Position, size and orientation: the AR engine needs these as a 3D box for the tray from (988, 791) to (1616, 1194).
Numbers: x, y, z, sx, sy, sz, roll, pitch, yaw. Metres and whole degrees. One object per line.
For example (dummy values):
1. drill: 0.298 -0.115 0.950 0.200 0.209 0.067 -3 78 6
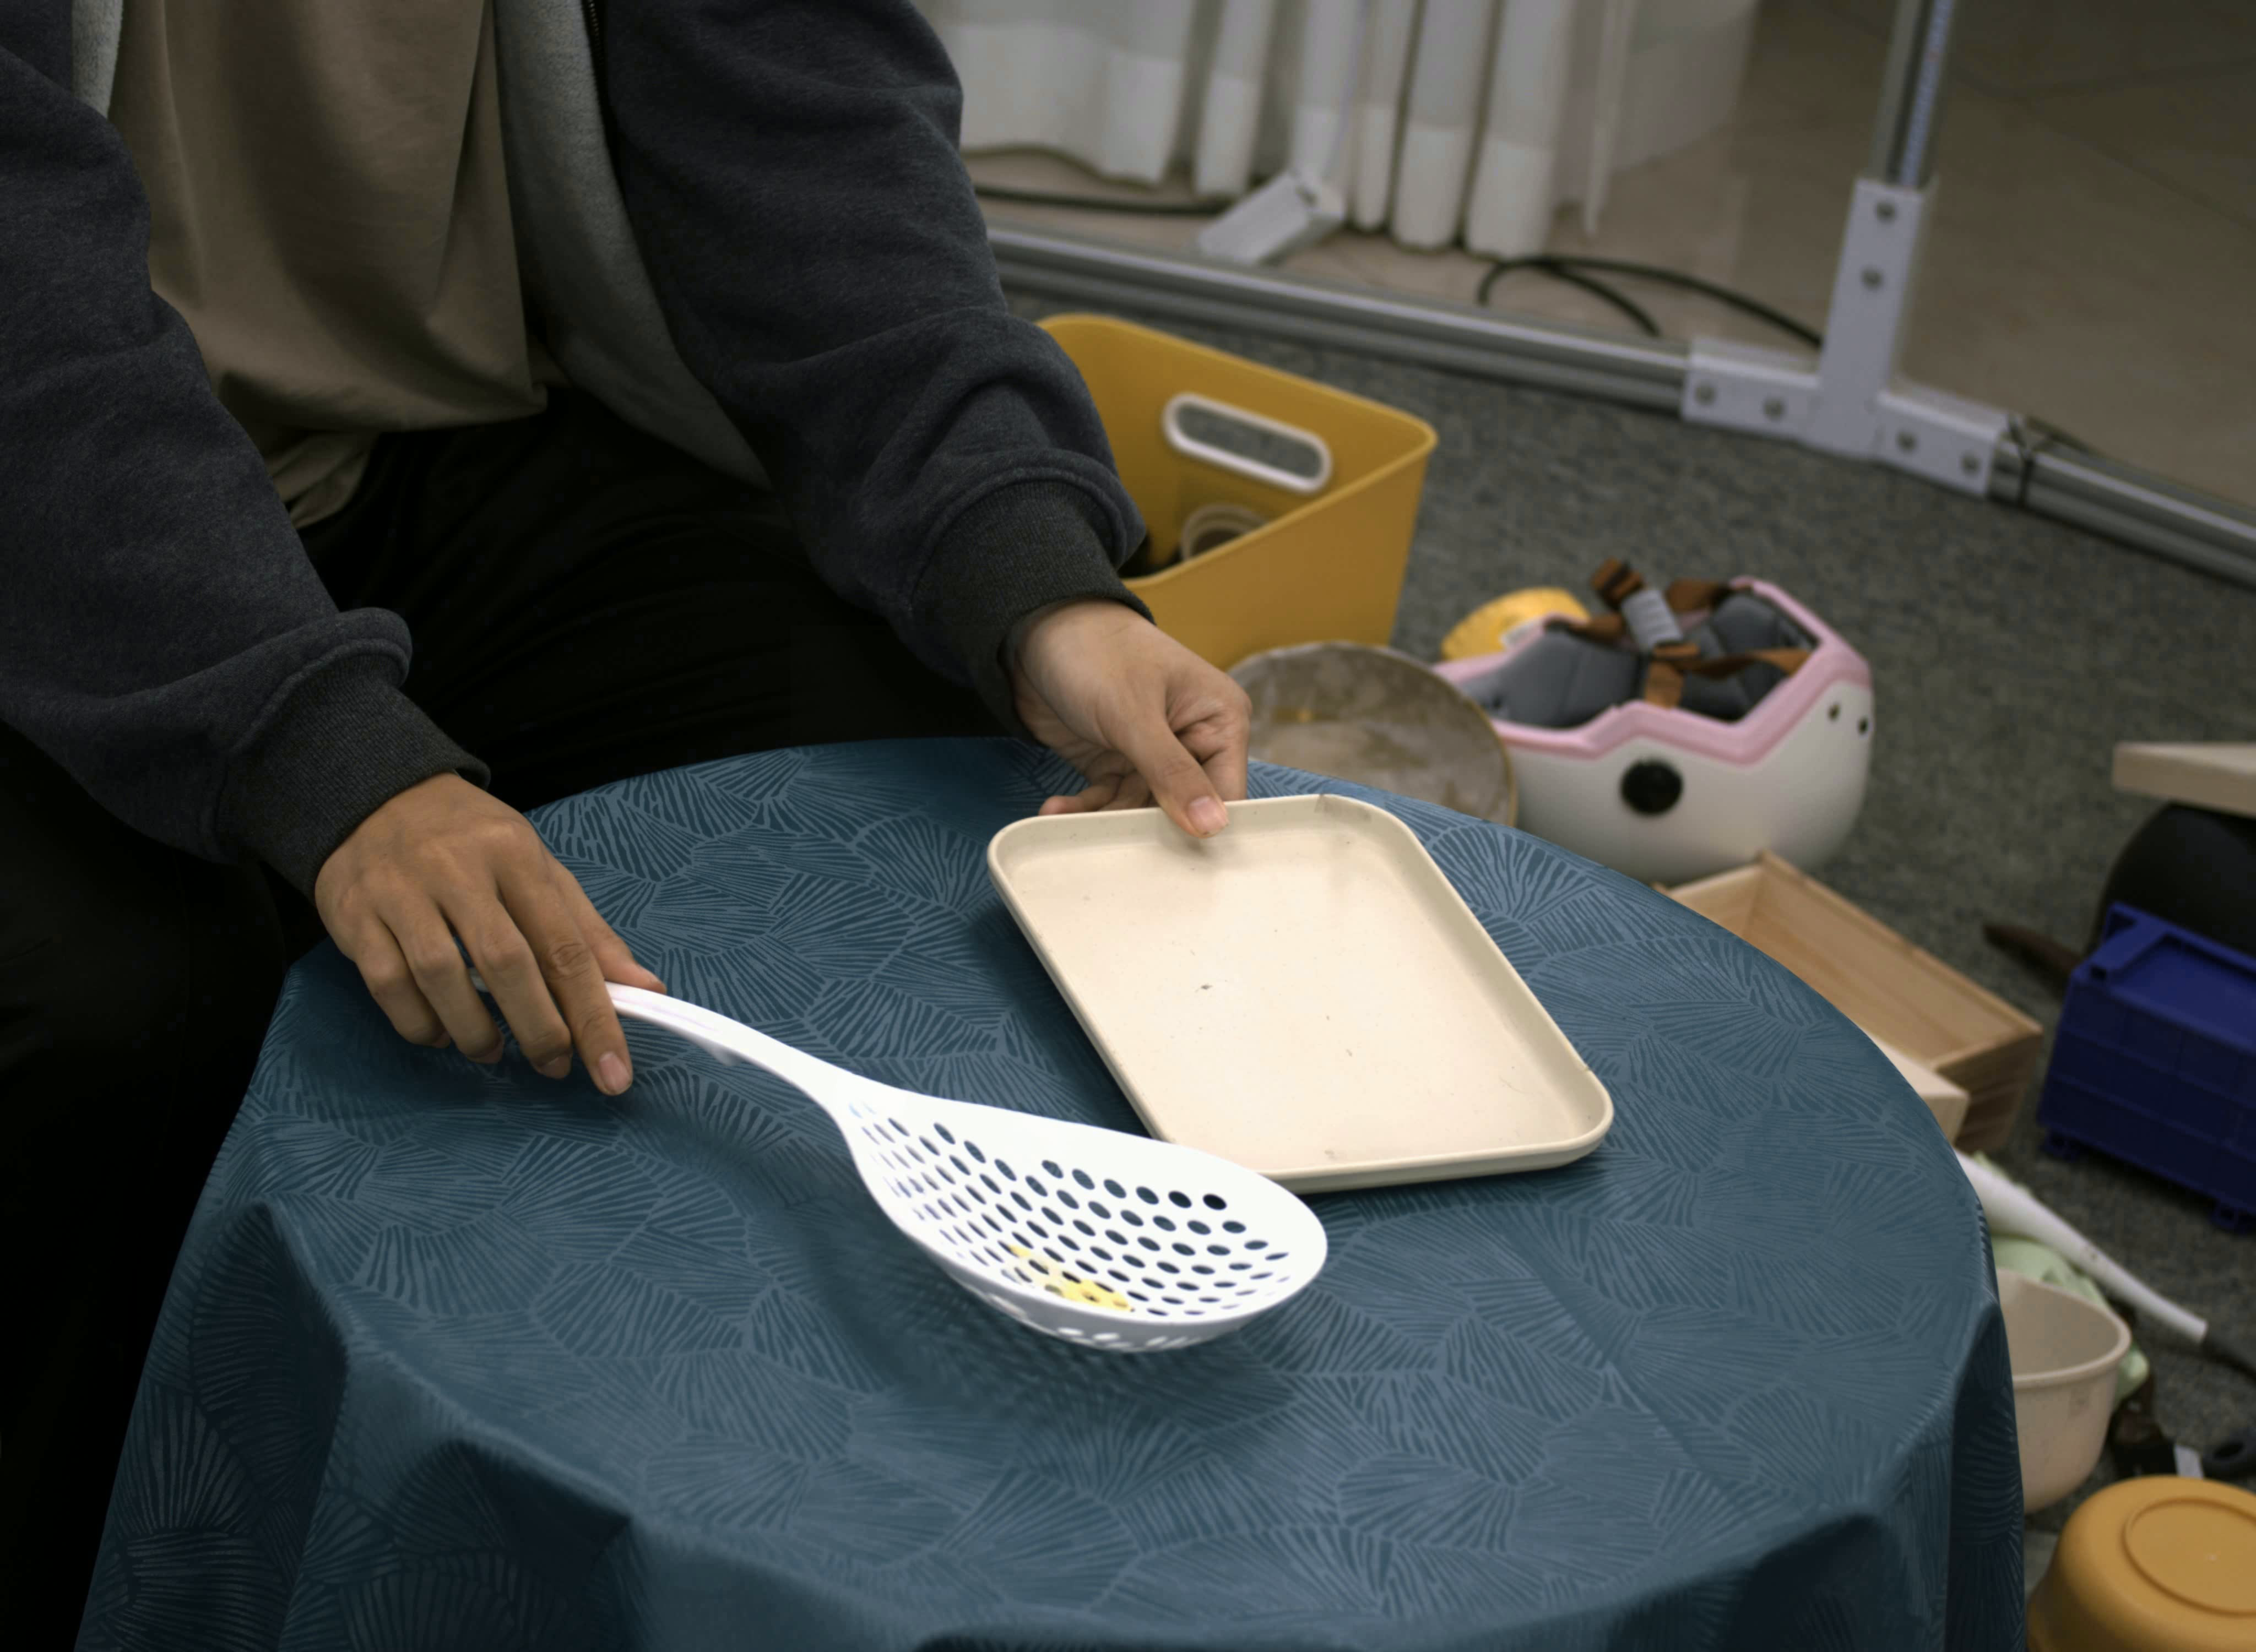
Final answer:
1. tray: 0.059 0.059 1.908 0.170 0.017 0.242 -5 32 -20

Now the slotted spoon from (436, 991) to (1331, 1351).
1. slotted spoon: -0.093 0.101 1.773 0.350 0.050 0.136 25 29 29
